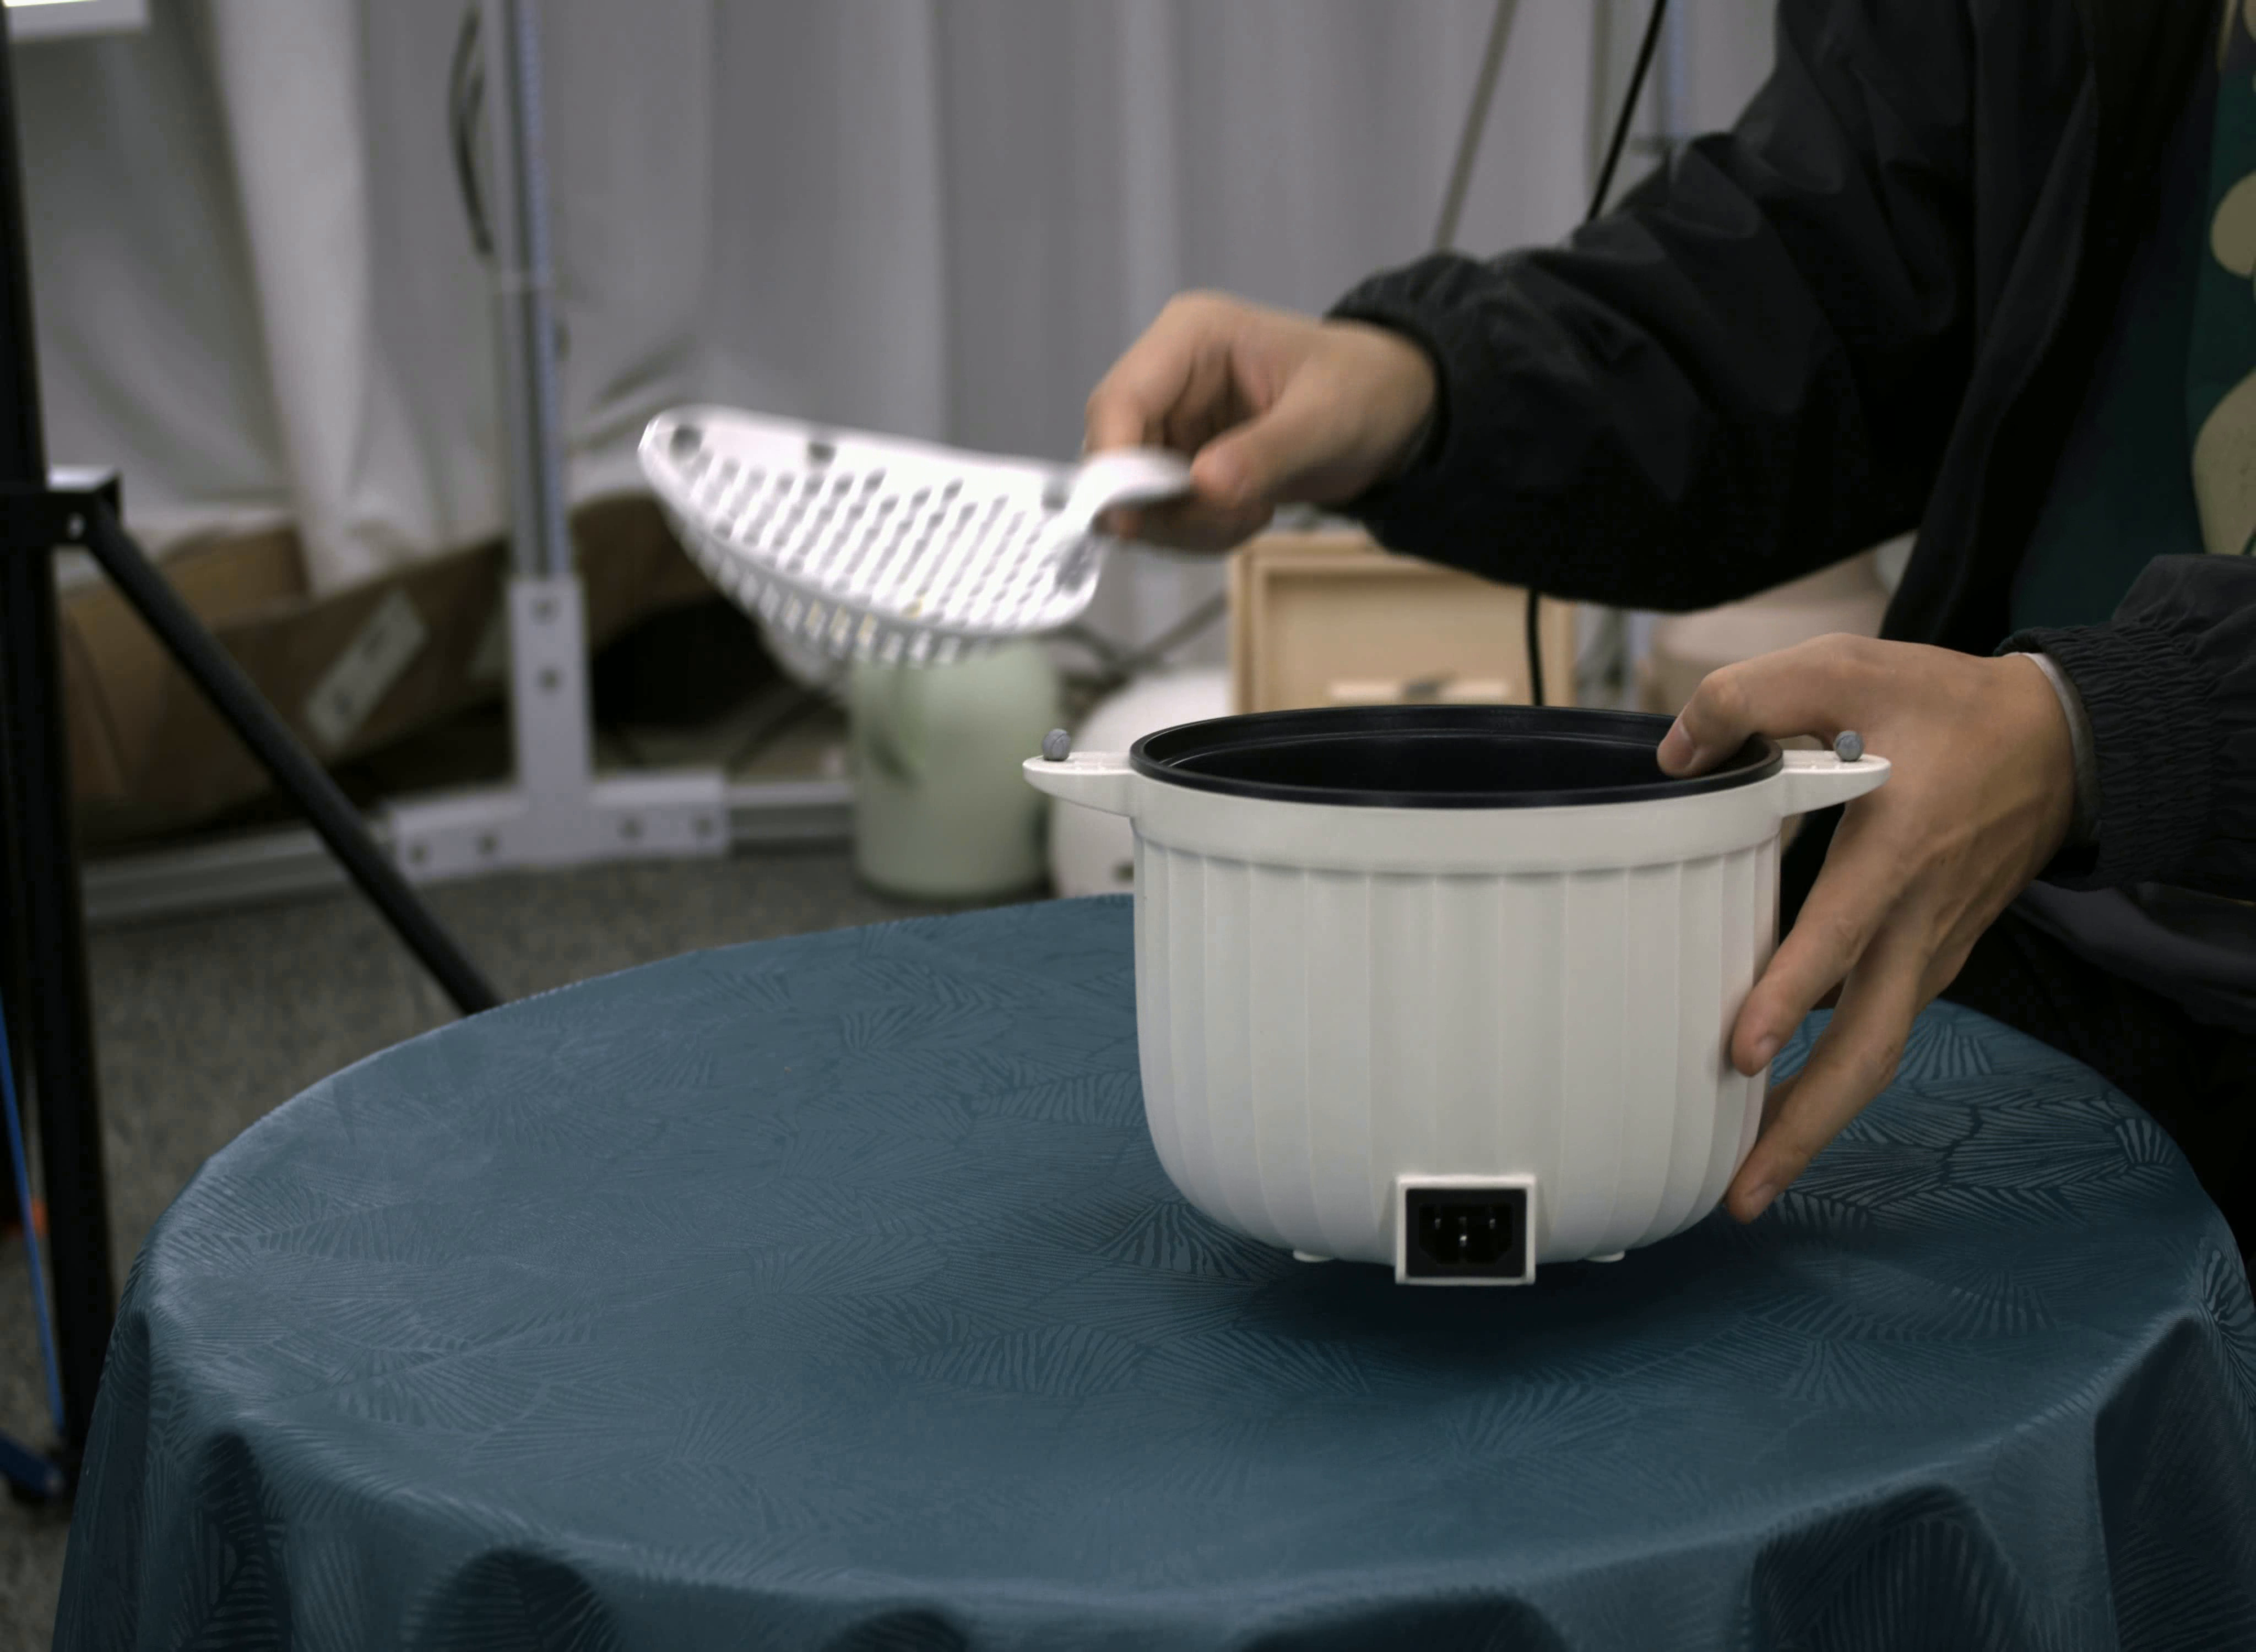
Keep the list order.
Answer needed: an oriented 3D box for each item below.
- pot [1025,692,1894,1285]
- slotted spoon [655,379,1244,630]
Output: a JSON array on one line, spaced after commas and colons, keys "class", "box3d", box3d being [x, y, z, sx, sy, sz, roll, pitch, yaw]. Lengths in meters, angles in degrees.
[{"class": "pot", "box3d": [0.090, 0.042, 1.480, 0.239, 0.143, 0.191, 1, 12, 2]}, {"class": "slotted spoon", "box3d": [-0.029, -0.102, 1.651, 0.139, 0.050, 0.341, 28, 22, 20]}]
